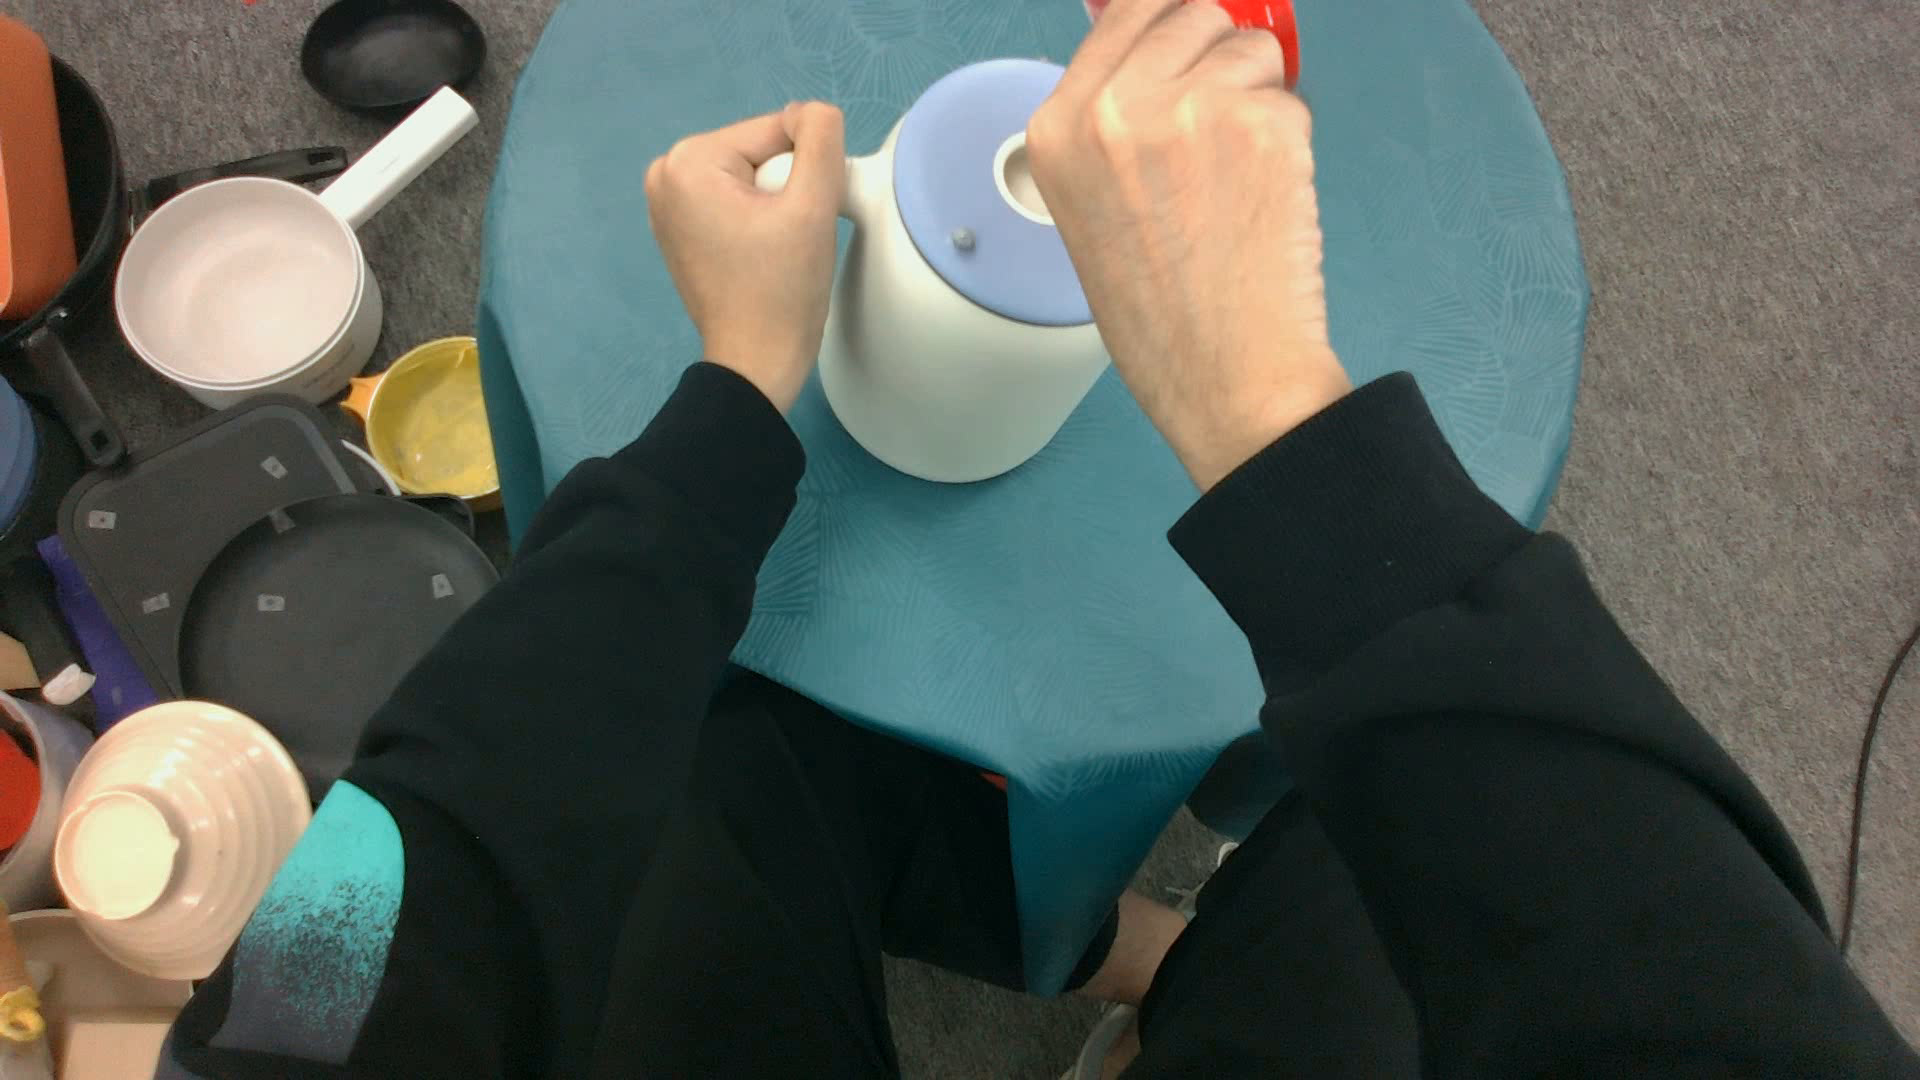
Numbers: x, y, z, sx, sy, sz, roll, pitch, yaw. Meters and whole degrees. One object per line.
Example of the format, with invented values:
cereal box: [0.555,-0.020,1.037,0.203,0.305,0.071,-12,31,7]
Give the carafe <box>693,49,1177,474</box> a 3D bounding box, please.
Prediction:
carafe: [-0.021,-0.121,0.615,0.191,0.182,0.132,6,69,-12]

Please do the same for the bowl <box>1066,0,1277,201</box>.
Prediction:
bowl: [0.068,-0.176,0.454,0.051,0.119,0.119,-20,74,6]
